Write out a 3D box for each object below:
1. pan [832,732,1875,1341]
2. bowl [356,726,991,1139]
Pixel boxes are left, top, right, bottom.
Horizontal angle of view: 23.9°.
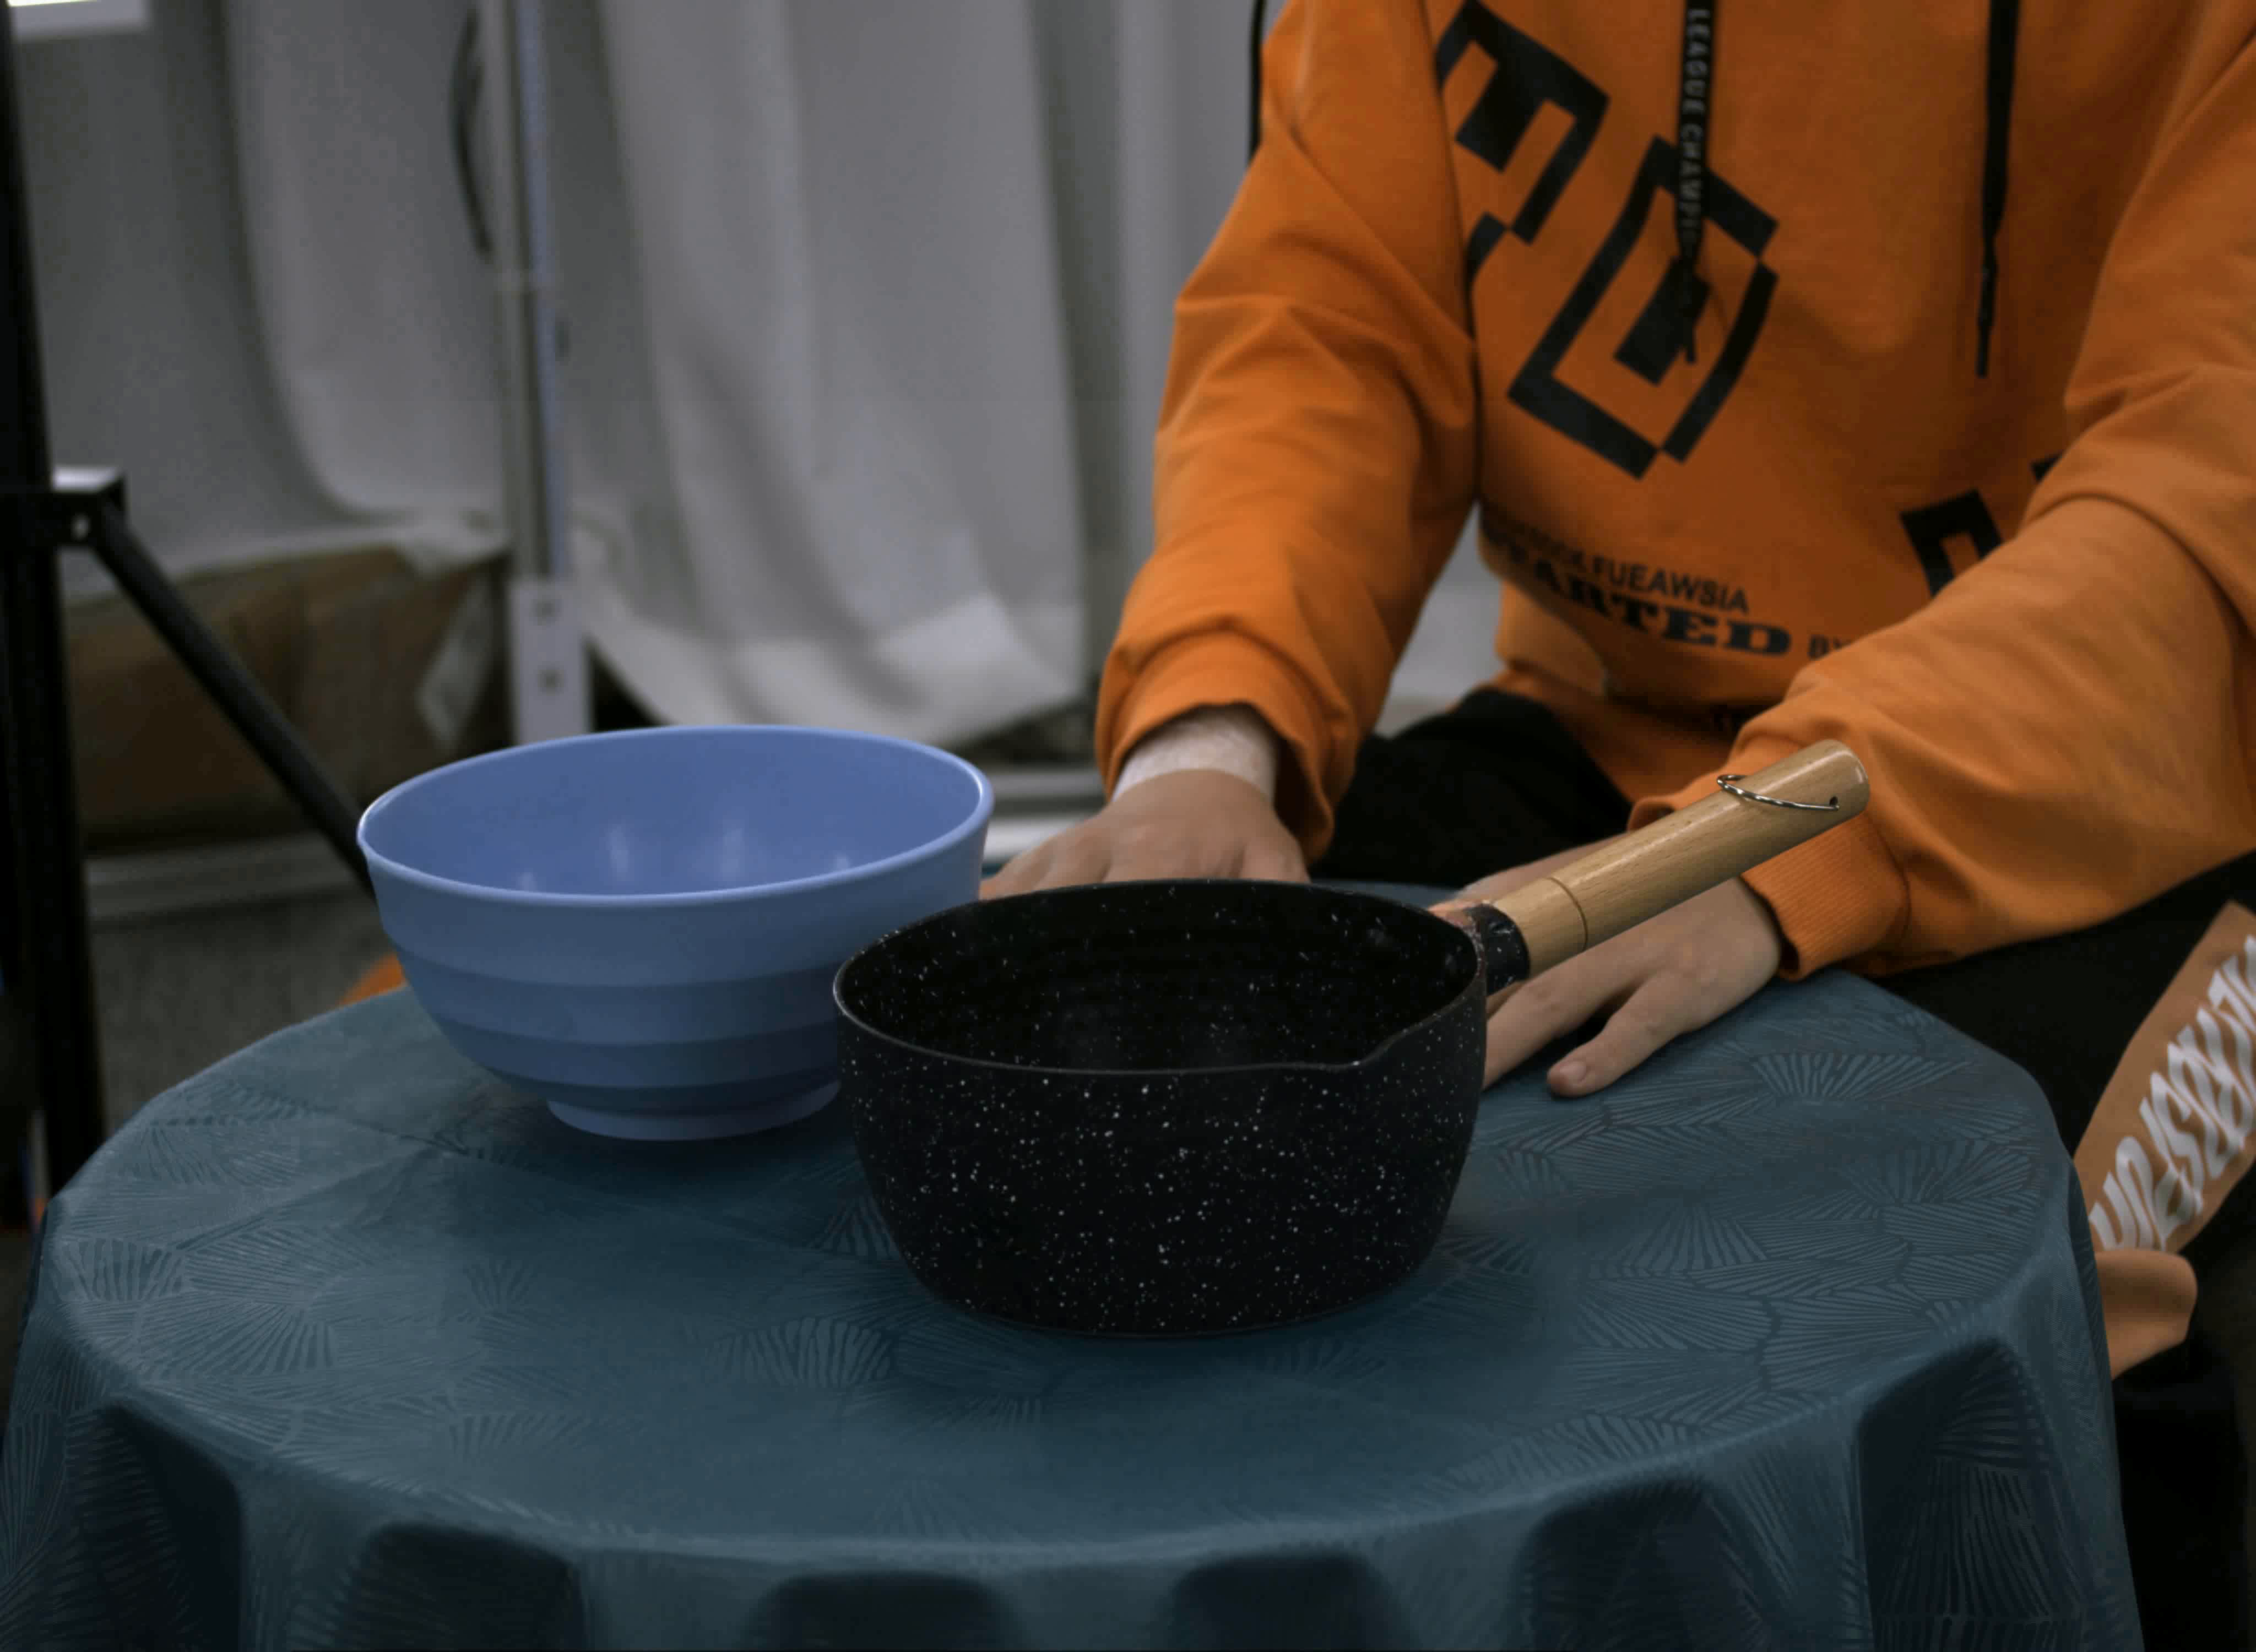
[{"bbox_3d":[0.077,0.056,1.533,0.335,0.108,0.212,-13,17,-29],"label":"pan"},{"bbox_3d":[-0.137,0.038,1.654,0.195,0.095,0.197,-4,15,0],"label":"bowl"}]
